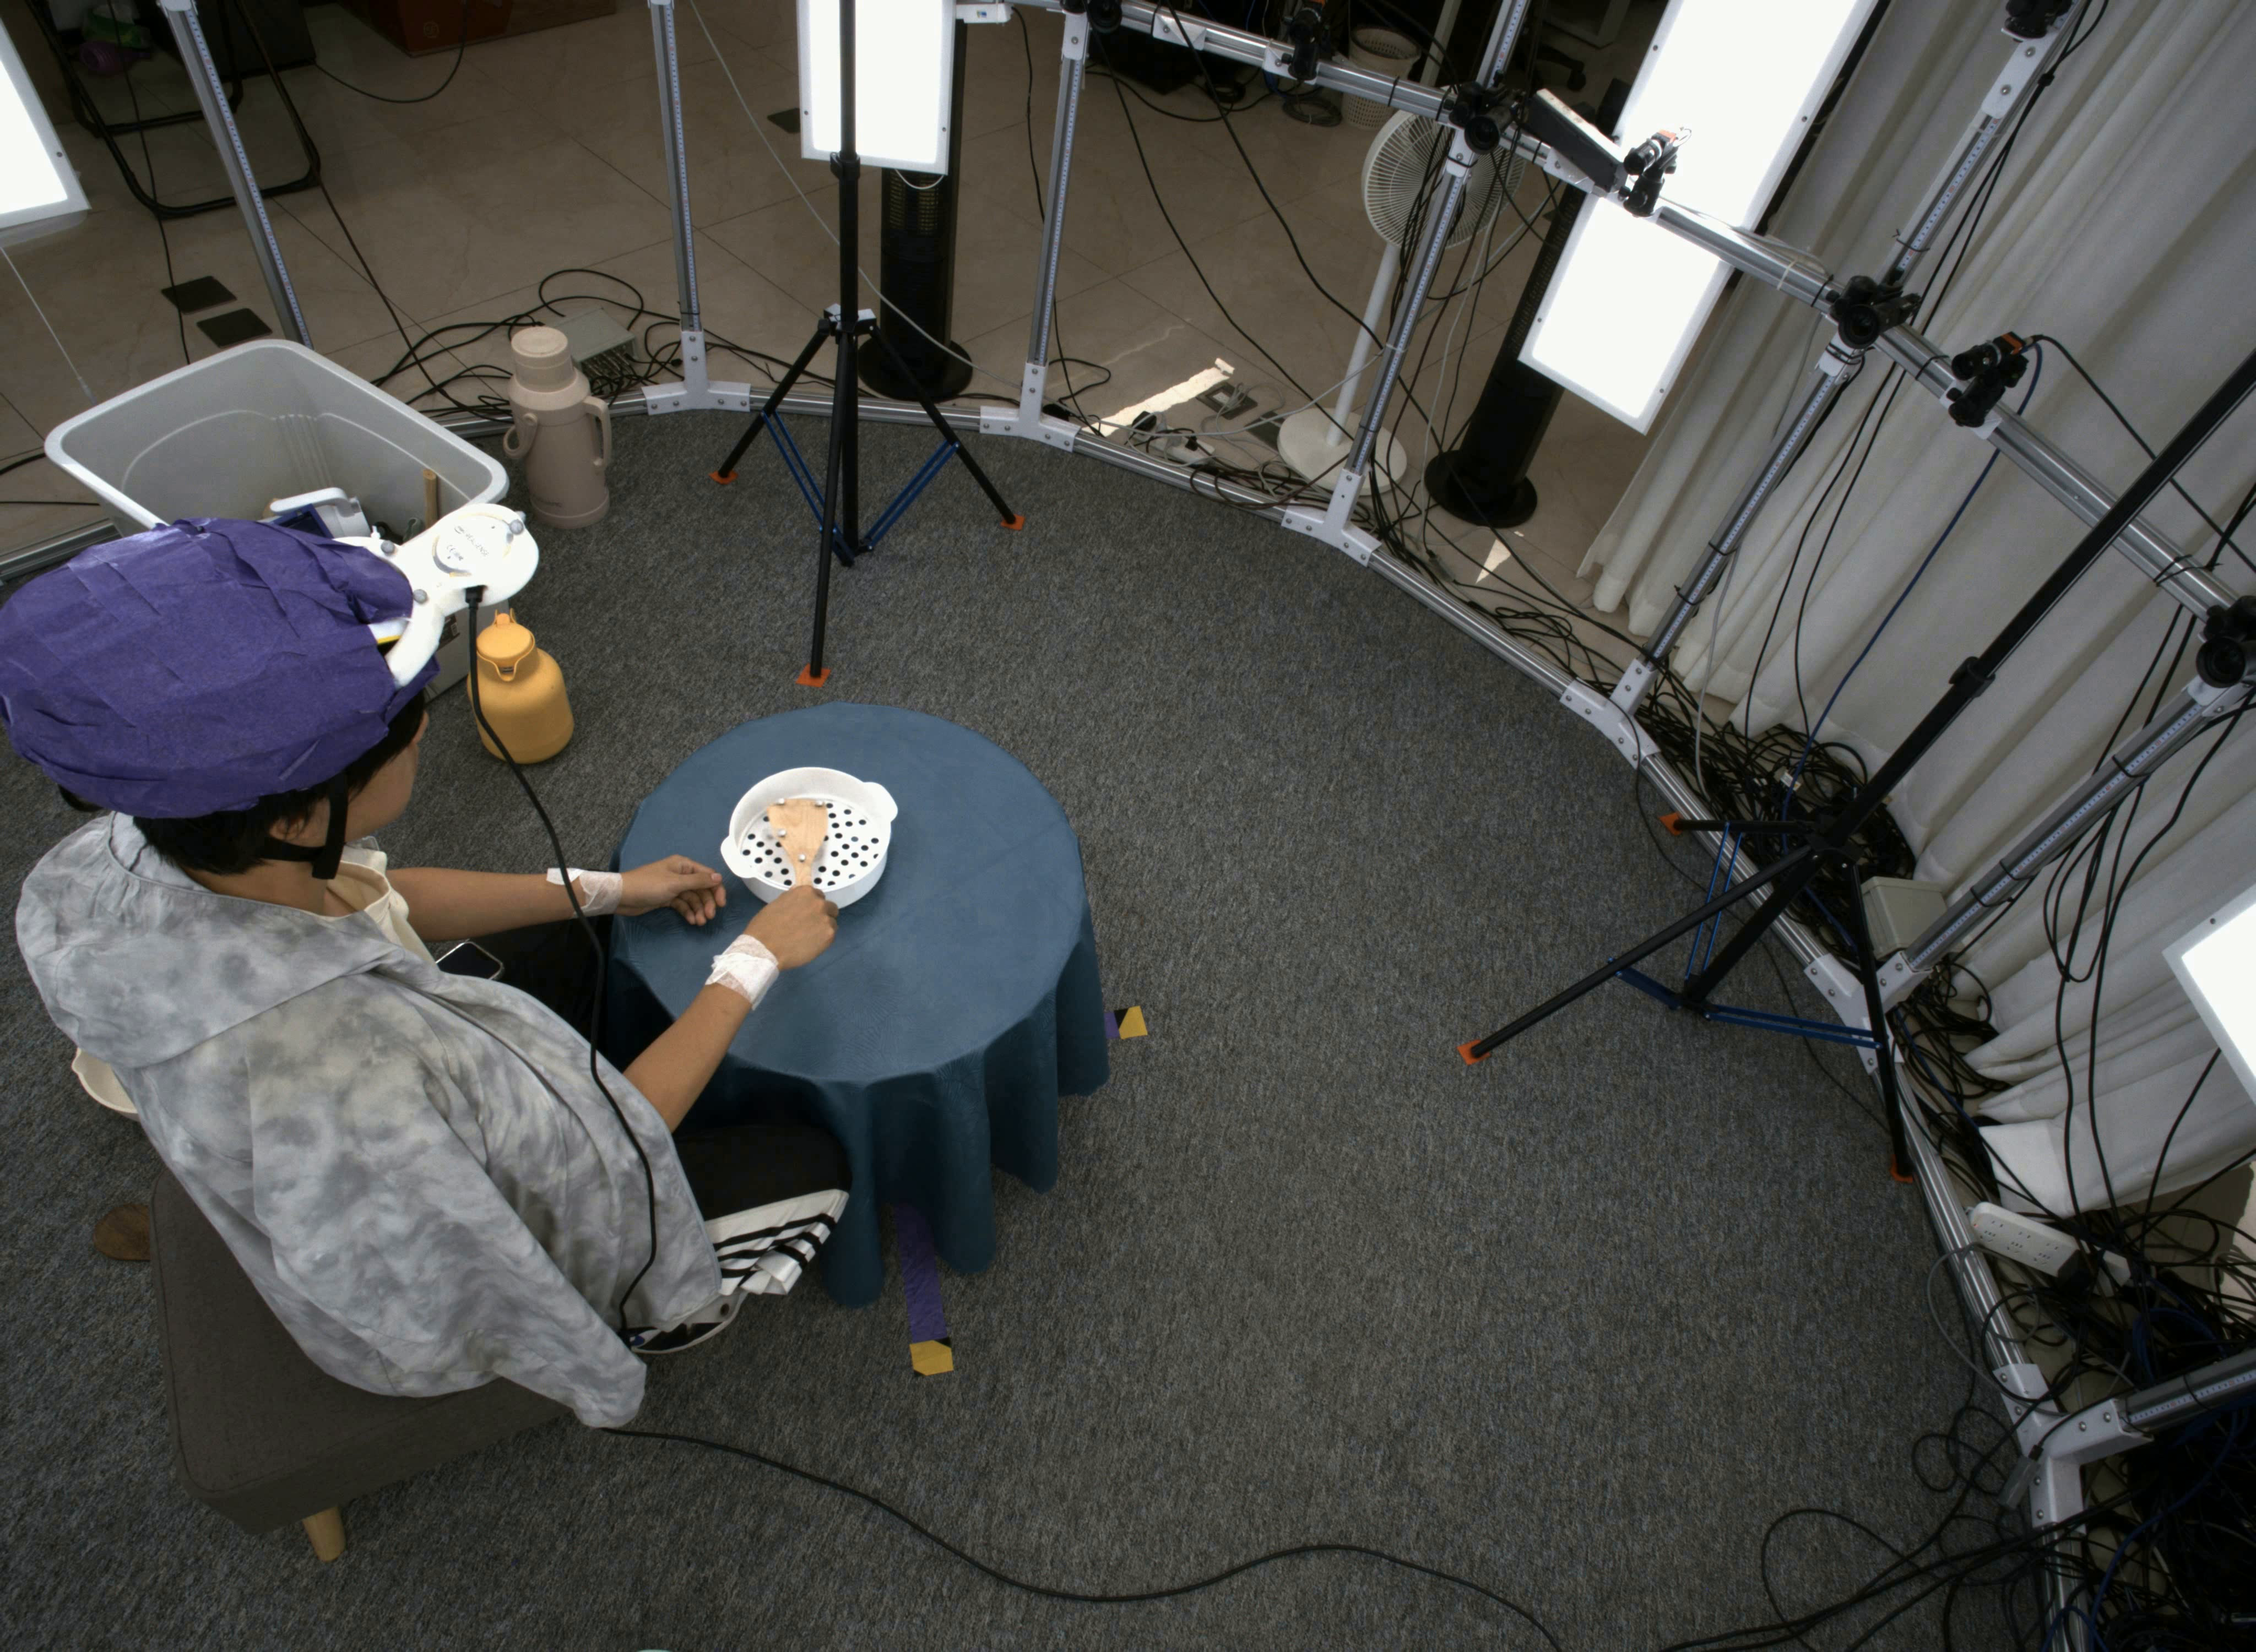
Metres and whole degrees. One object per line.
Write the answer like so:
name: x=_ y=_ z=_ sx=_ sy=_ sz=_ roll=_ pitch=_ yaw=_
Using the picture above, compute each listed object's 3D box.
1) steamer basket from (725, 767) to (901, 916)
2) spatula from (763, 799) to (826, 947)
steamer basket: x=-0.403 y=0.019 z=1.675 sx=0.231 sy=0.071 sz=0.196 roll=-25 pitch=61 yaw=-27
spatula: x=-0.396 y=0.047 z=1.572 sx=0.081 sy=0.017 sz=0.317 roll=7 pitch=28 yaw=-22
